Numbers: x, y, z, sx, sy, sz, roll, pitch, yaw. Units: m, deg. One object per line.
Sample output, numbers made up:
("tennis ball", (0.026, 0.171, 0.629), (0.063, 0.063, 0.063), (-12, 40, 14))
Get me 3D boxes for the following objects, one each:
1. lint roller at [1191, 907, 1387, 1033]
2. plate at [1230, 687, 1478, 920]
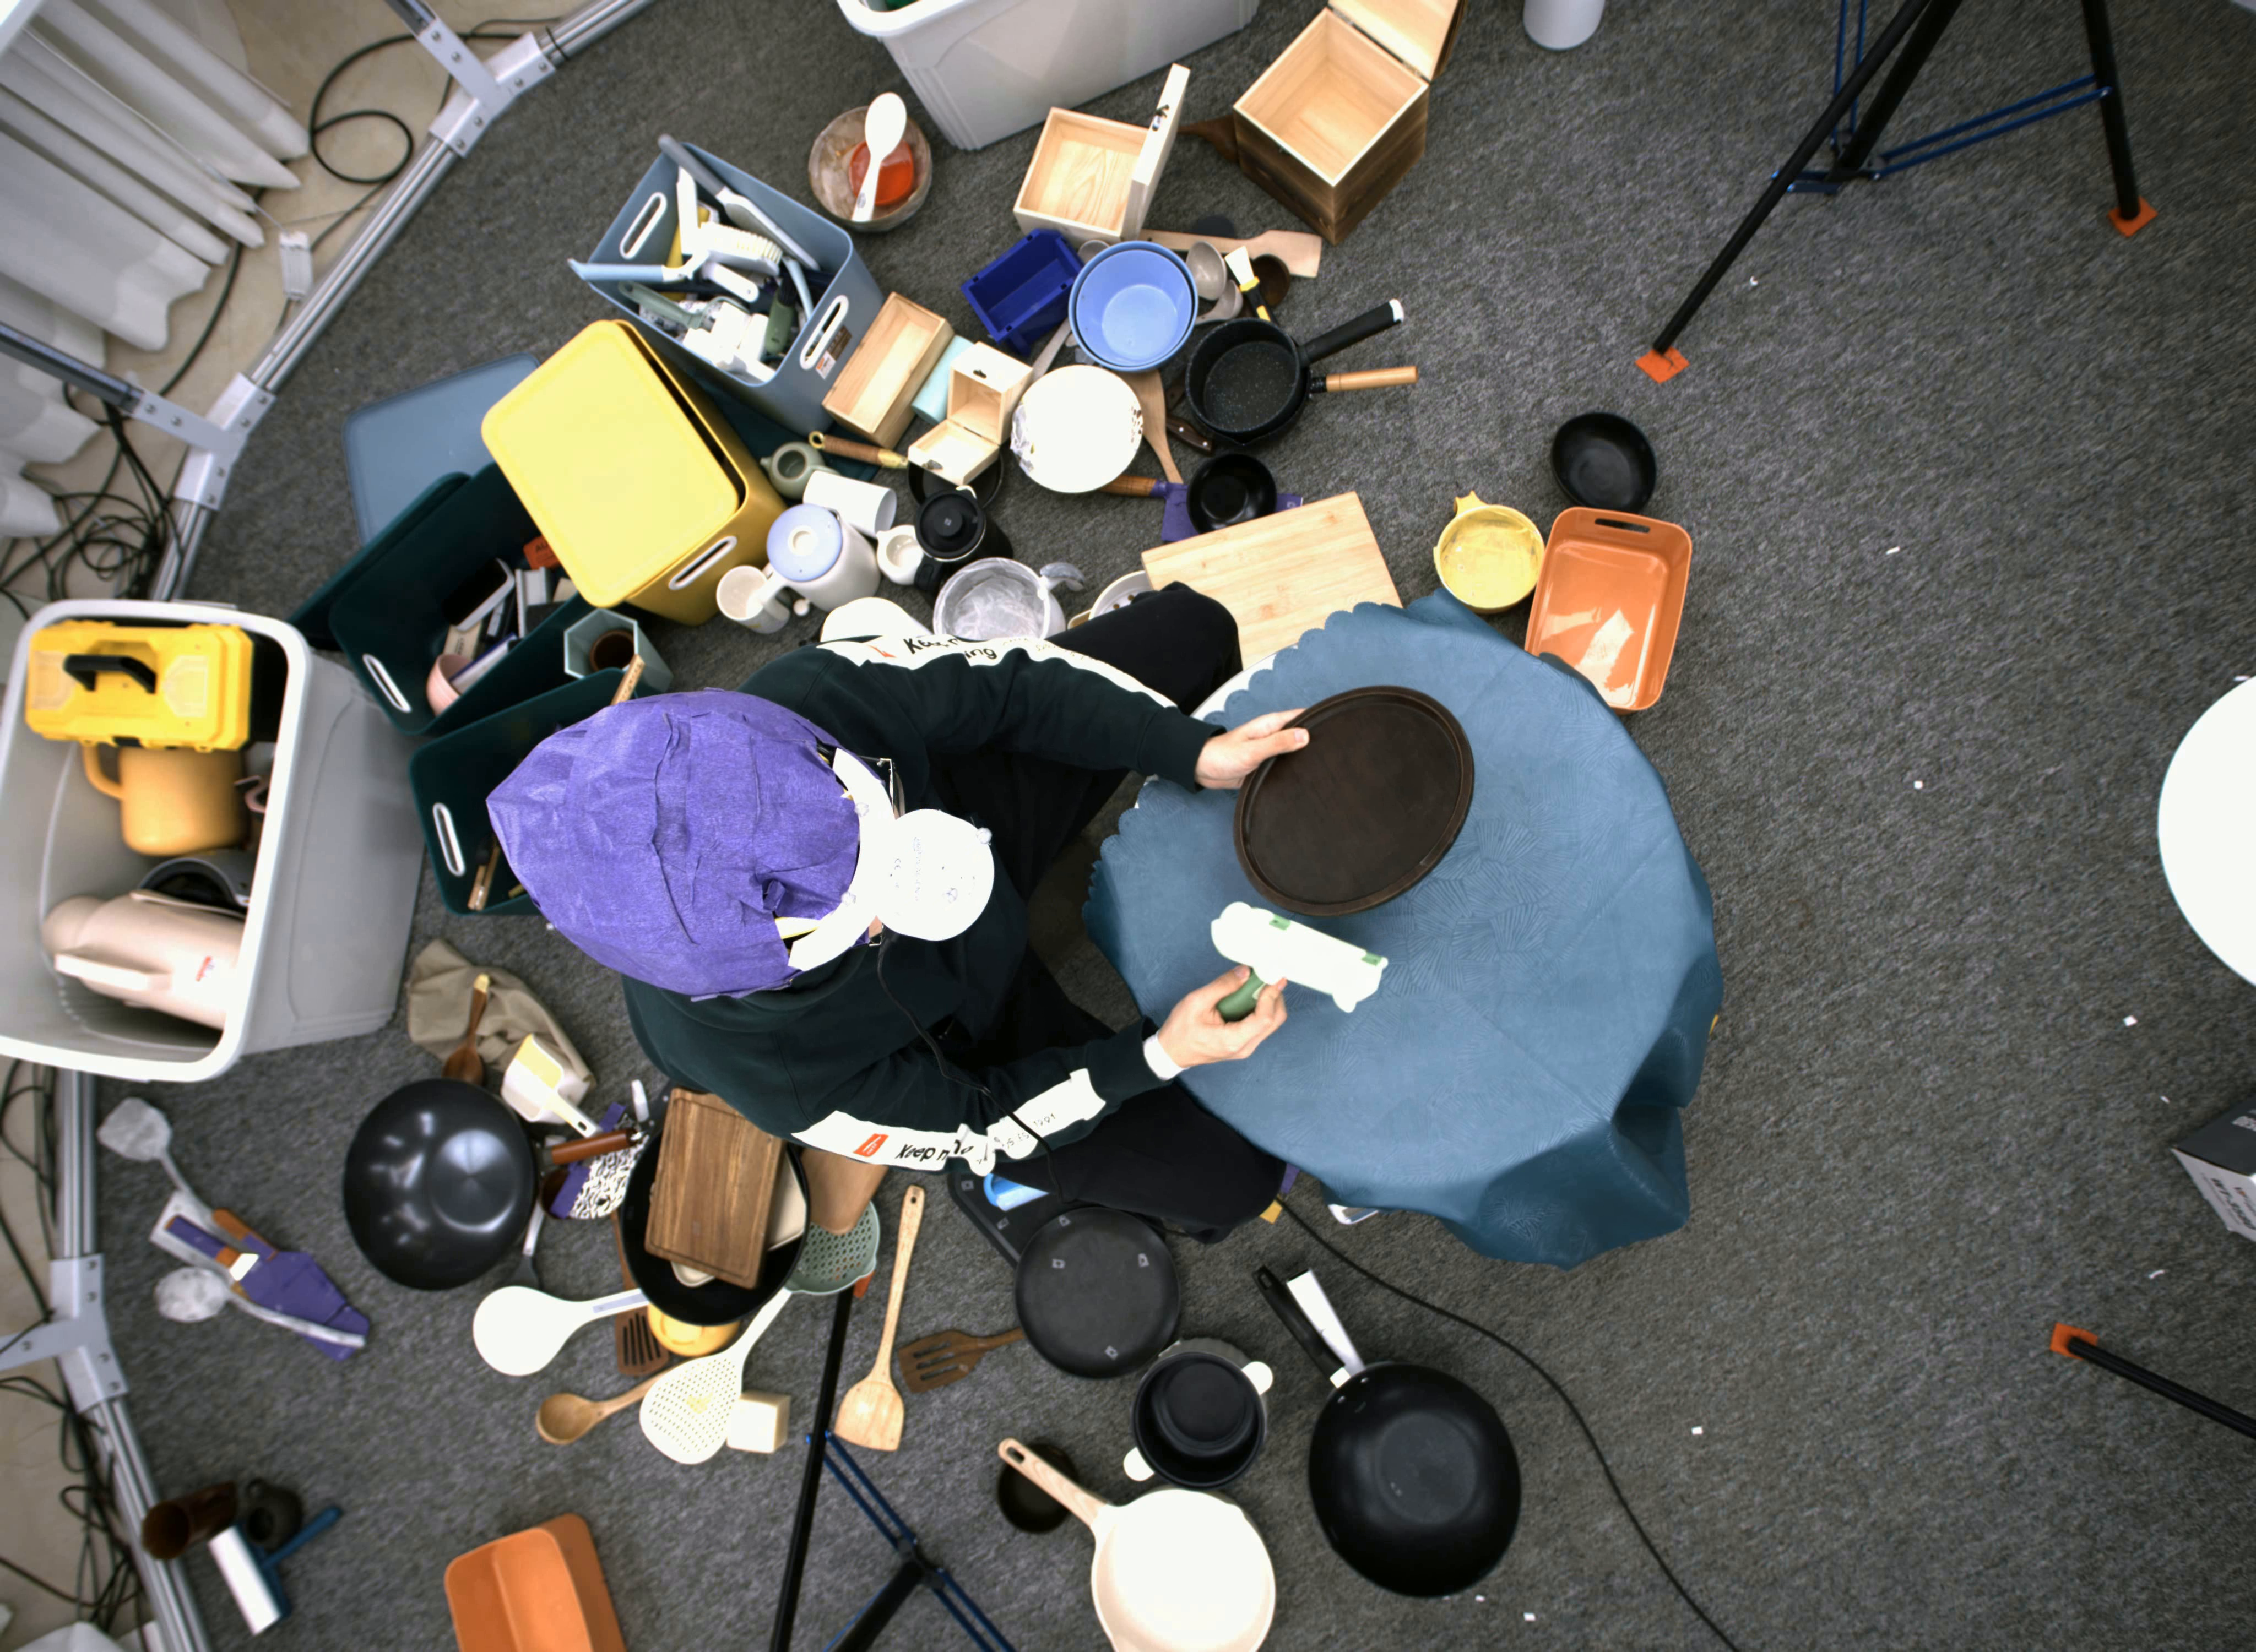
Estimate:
("lint roller", (0.134, 0.164, 1.351), (0.187, 0.199, 0.080), (-47, 45, 25))
("plate", (0.216, -0.024, 1.326), (0.258, 0.029, 0.249), (-18, 56, 28))
